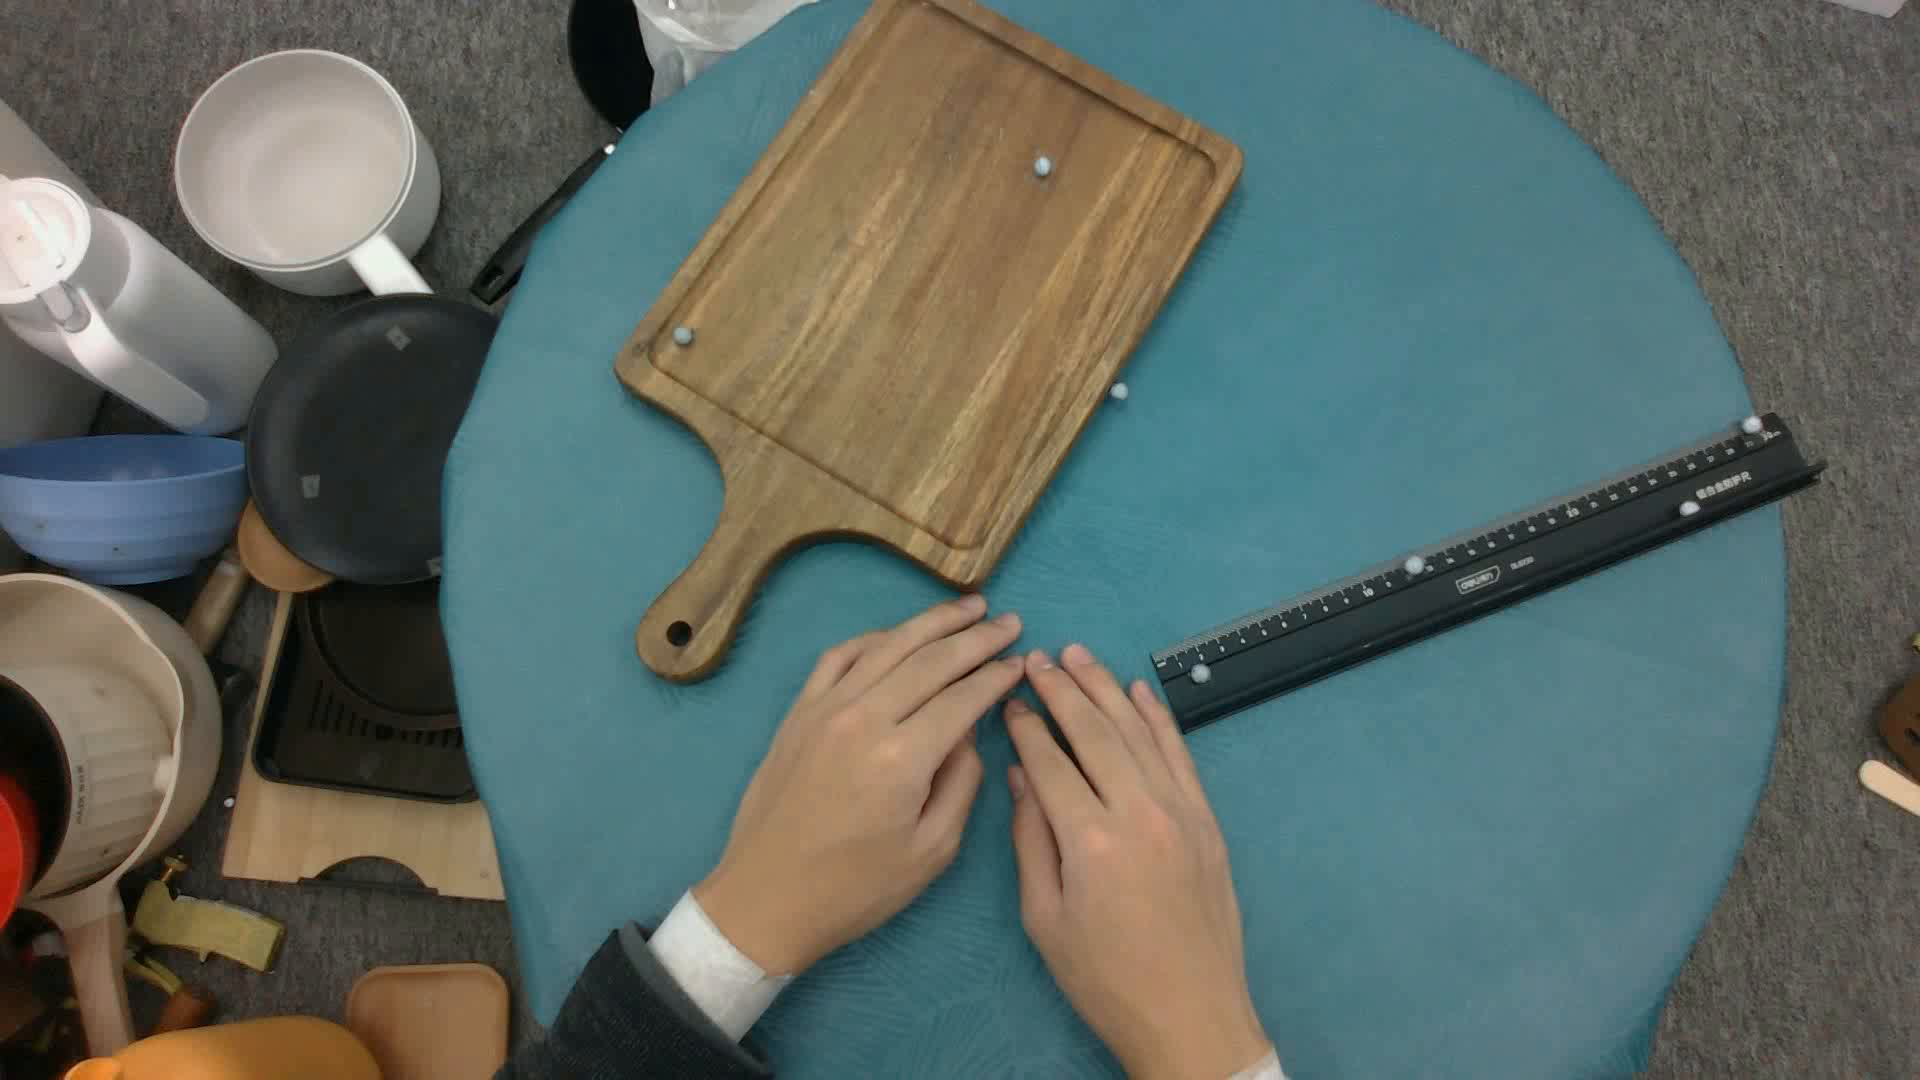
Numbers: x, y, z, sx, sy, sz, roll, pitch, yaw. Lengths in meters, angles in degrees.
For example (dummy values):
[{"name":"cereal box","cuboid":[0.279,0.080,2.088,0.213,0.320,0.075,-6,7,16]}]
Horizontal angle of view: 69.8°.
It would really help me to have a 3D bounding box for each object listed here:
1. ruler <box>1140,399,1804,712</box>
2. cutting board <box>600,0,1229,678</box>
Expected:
[{"name":"ruler","cuboid":[0.229,0.002,0.610,0.313,0.017,0.039,-20,74,-6]},{"name":"cutting board","cuboid":[-0.042,-0.092,0.626,0.201,0.023,0.353,30,77,7]}]
